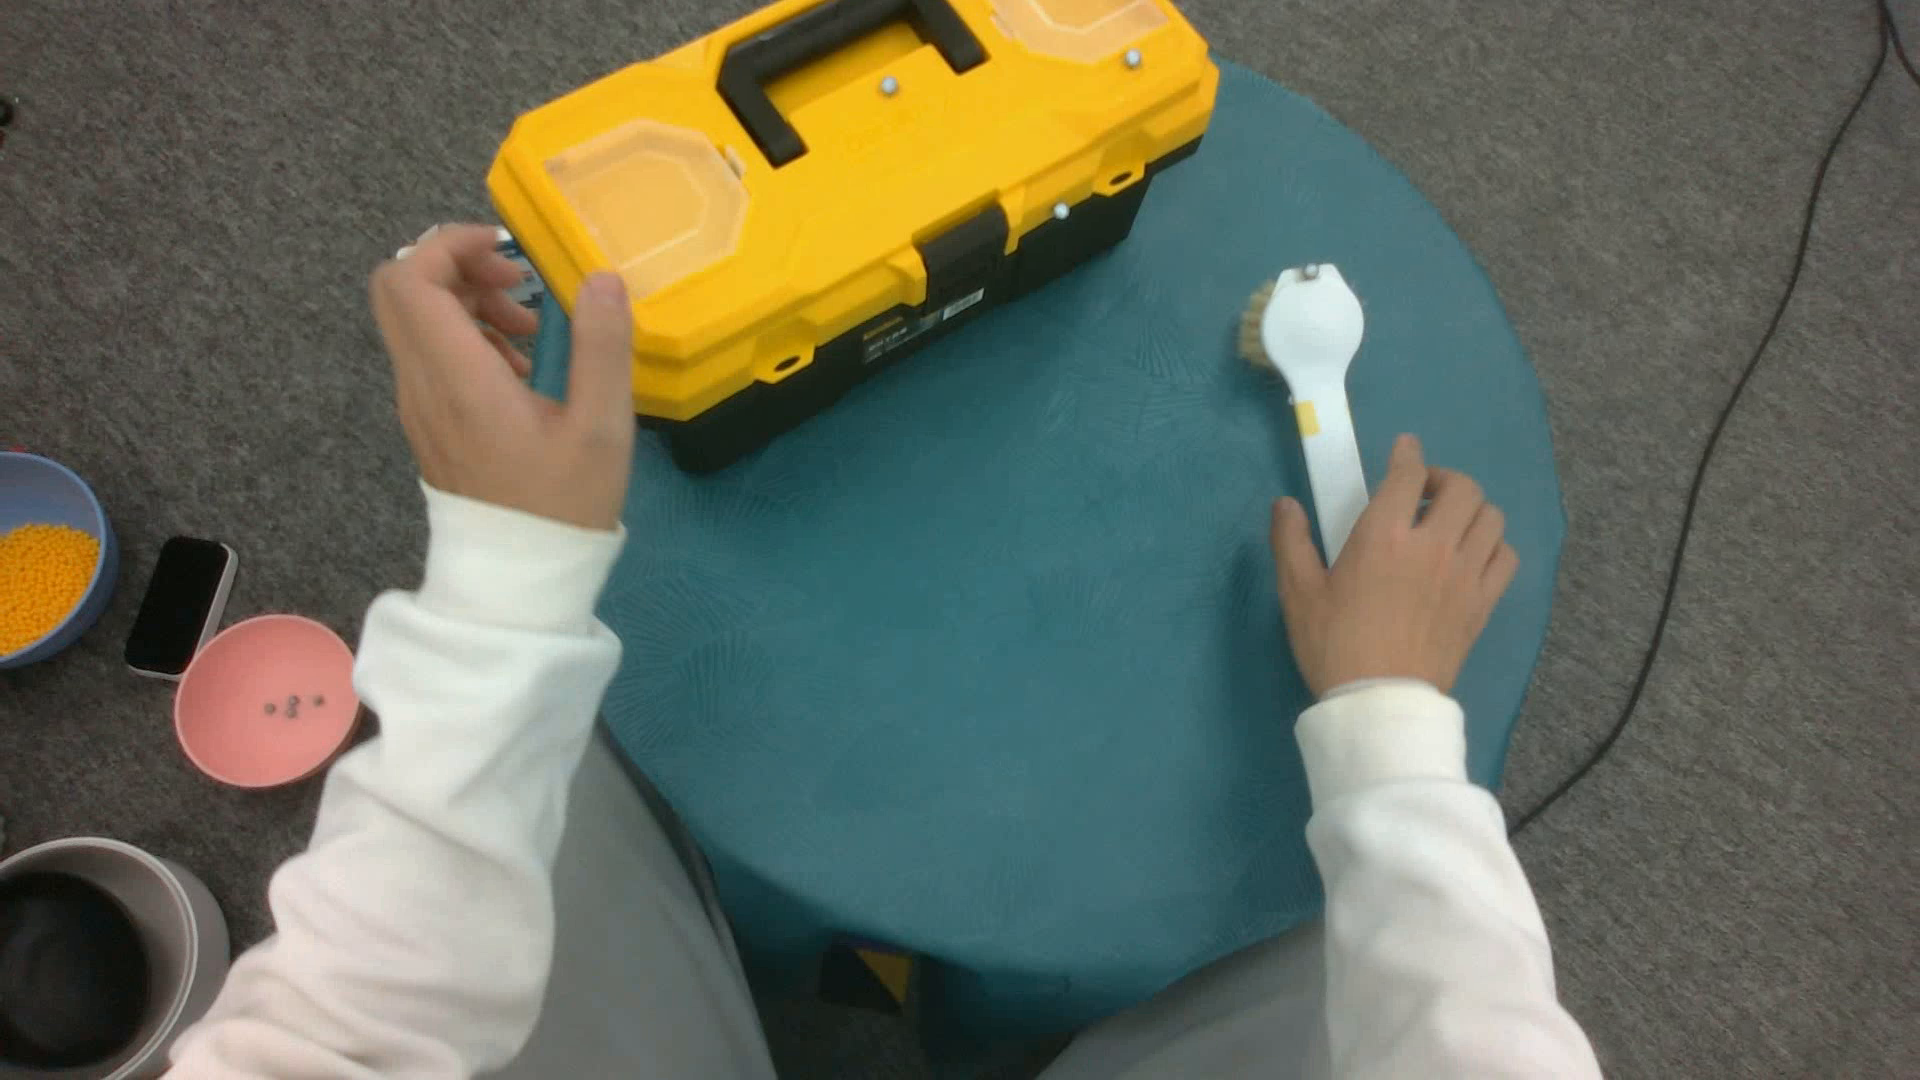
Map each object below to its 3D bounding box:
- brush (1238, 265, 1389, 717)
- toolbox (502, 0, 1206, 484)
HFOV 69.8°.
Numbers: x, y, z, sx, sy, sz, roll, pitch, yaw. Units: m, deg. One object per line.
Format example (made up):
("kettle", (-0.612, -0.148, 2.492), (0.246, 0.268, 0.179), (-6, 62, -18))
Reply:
("brush", (0.213, -0.031, 0.808), (0.068, 0.056, 0.266), (-10, 86, 14))
("toolbox", (-0.049, -0.186, 0.758), (0.352, 0.172, 0.181), (-33, 75, -14))
